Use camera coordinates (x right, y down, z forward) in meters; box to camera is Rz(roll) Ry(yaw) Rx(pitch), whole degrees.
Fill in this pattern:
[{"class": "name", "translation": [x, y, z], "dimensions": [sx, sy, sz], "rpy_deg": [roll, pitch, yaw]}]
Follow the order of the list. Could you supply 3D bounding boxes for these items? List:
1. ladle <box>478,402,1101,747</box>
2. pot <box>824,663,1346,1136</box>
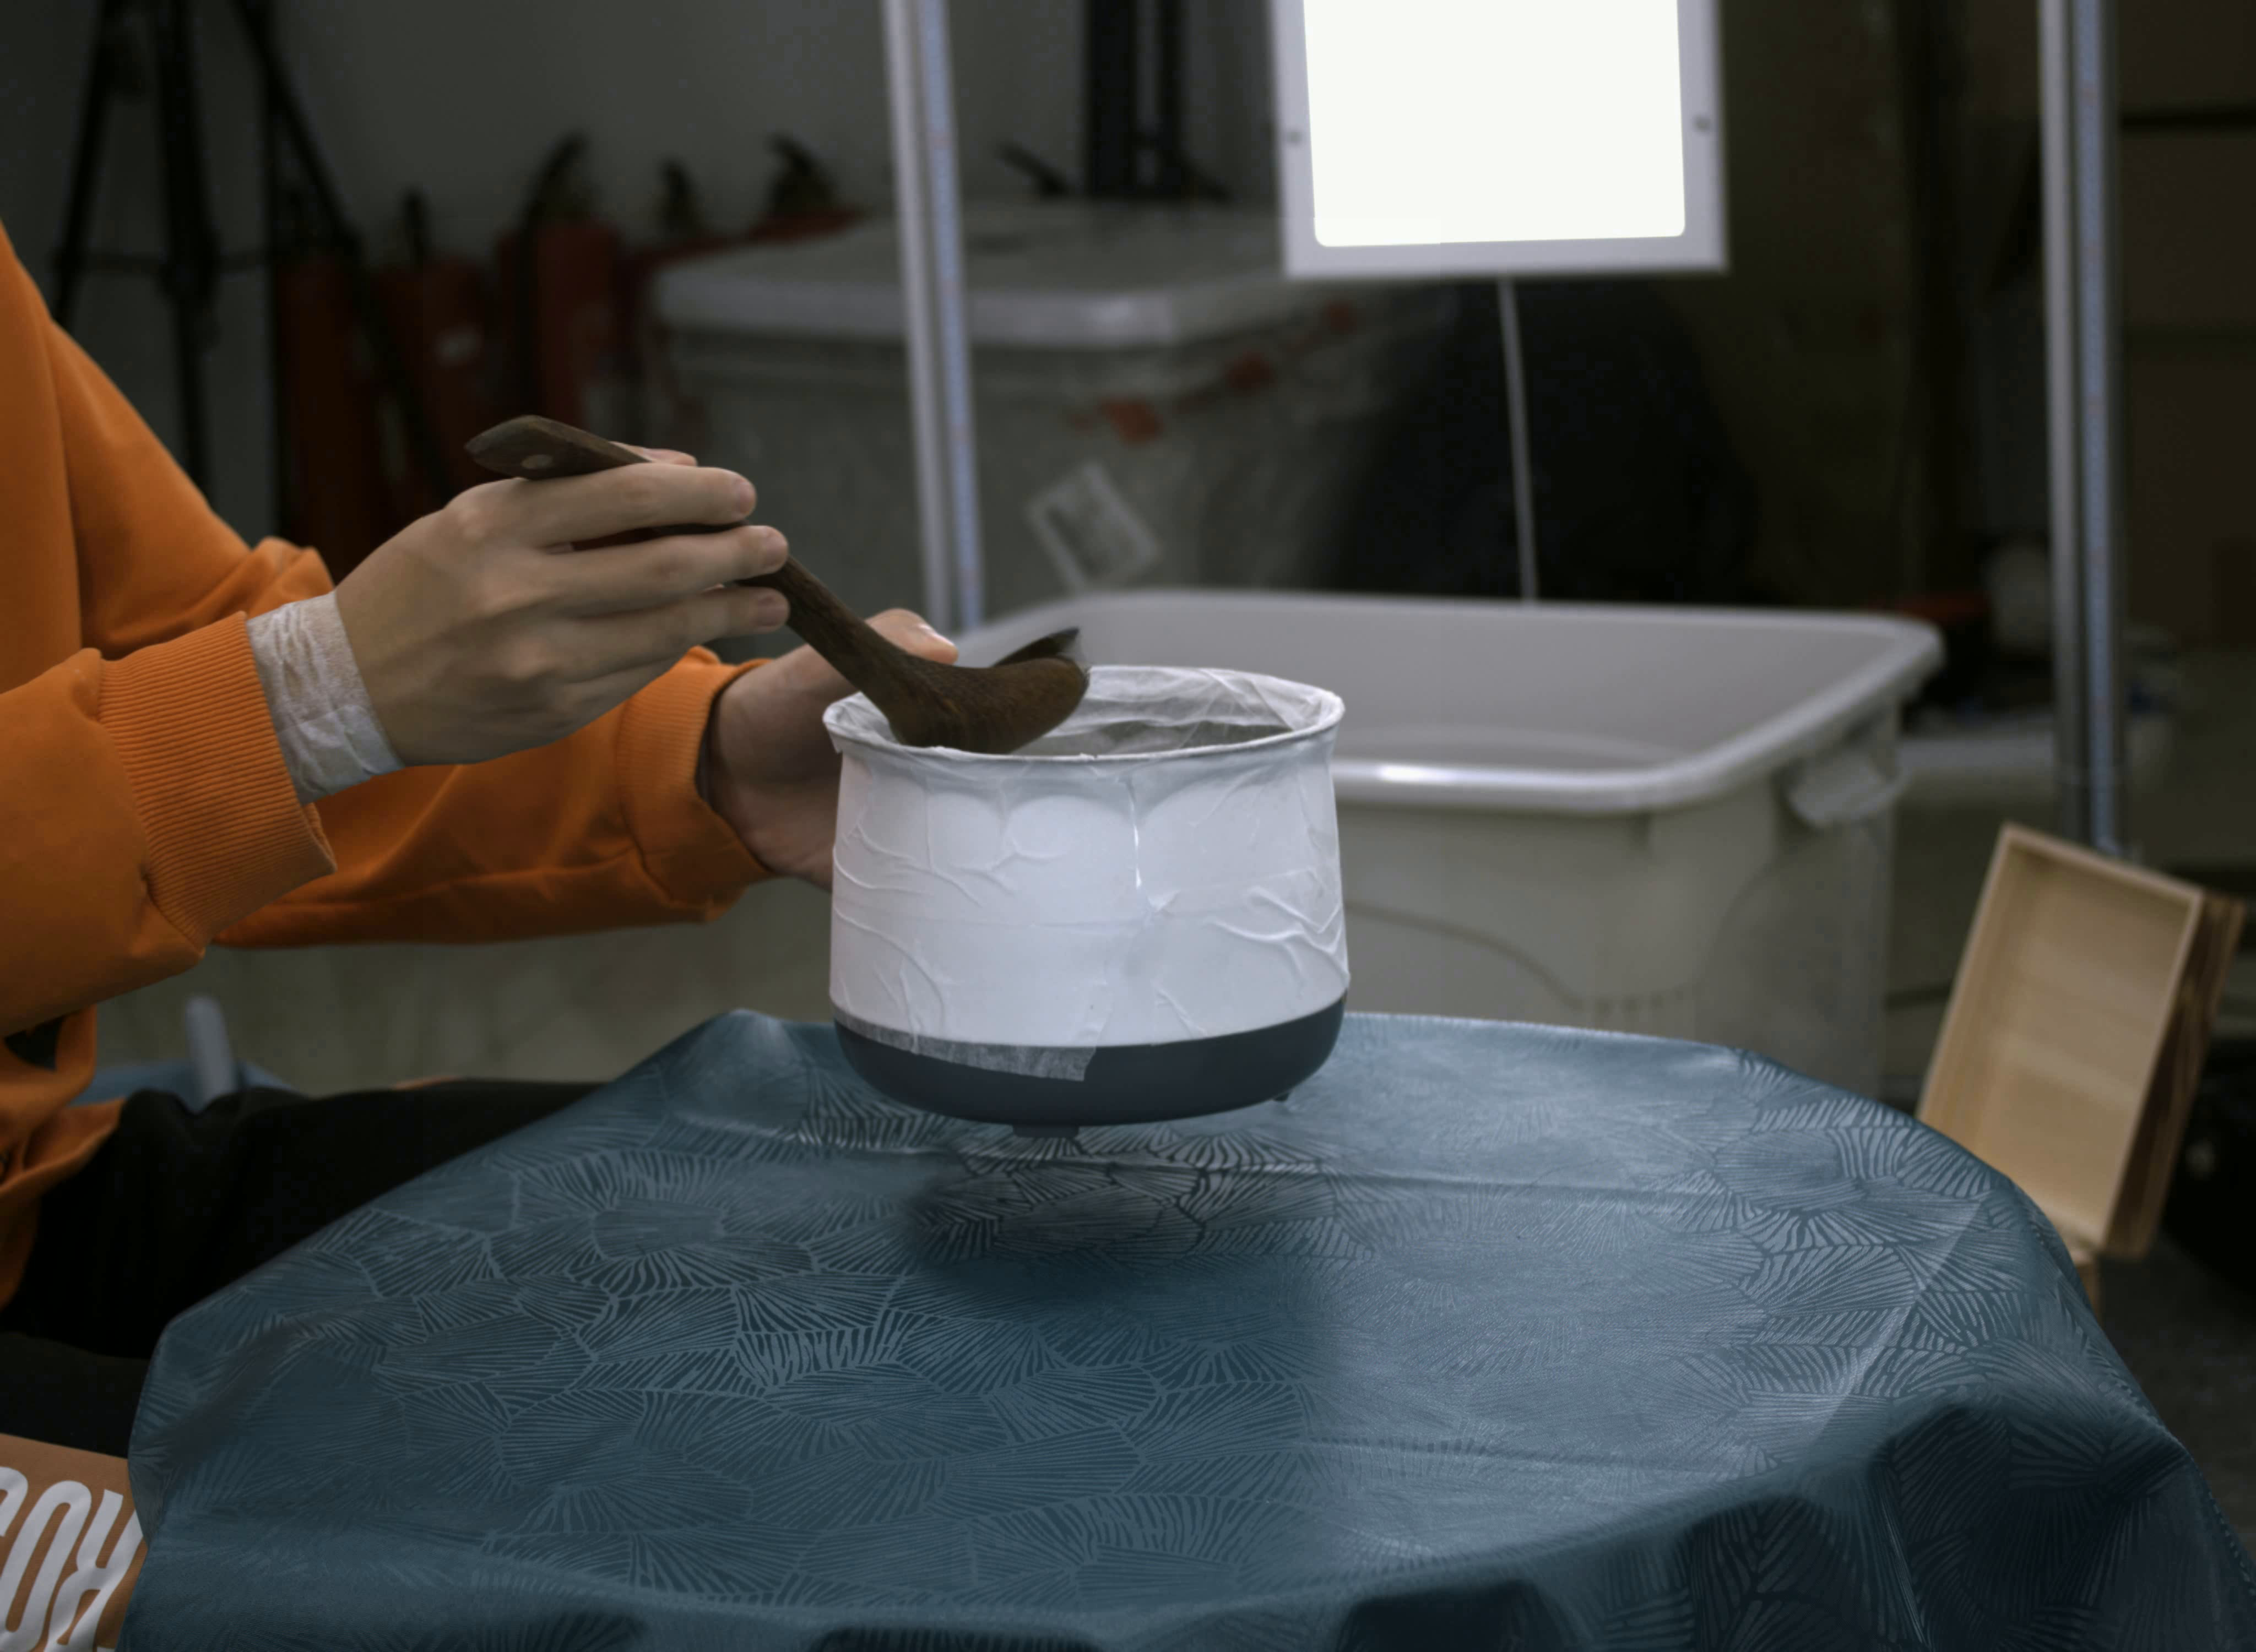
[{"class": "ladle", "translation": [-0.110, -0.092, 1.801], "dimensions": [0.077, 0.269, 0.071], "rpy_deg": [-31, 45, 28]}, {"class": "pot", "translation": [-0.030, 0.018, 1.888], "dimensions": [0.174, 0.137, 0.238], "rpy_deg": [-8, 13, -33]}]
